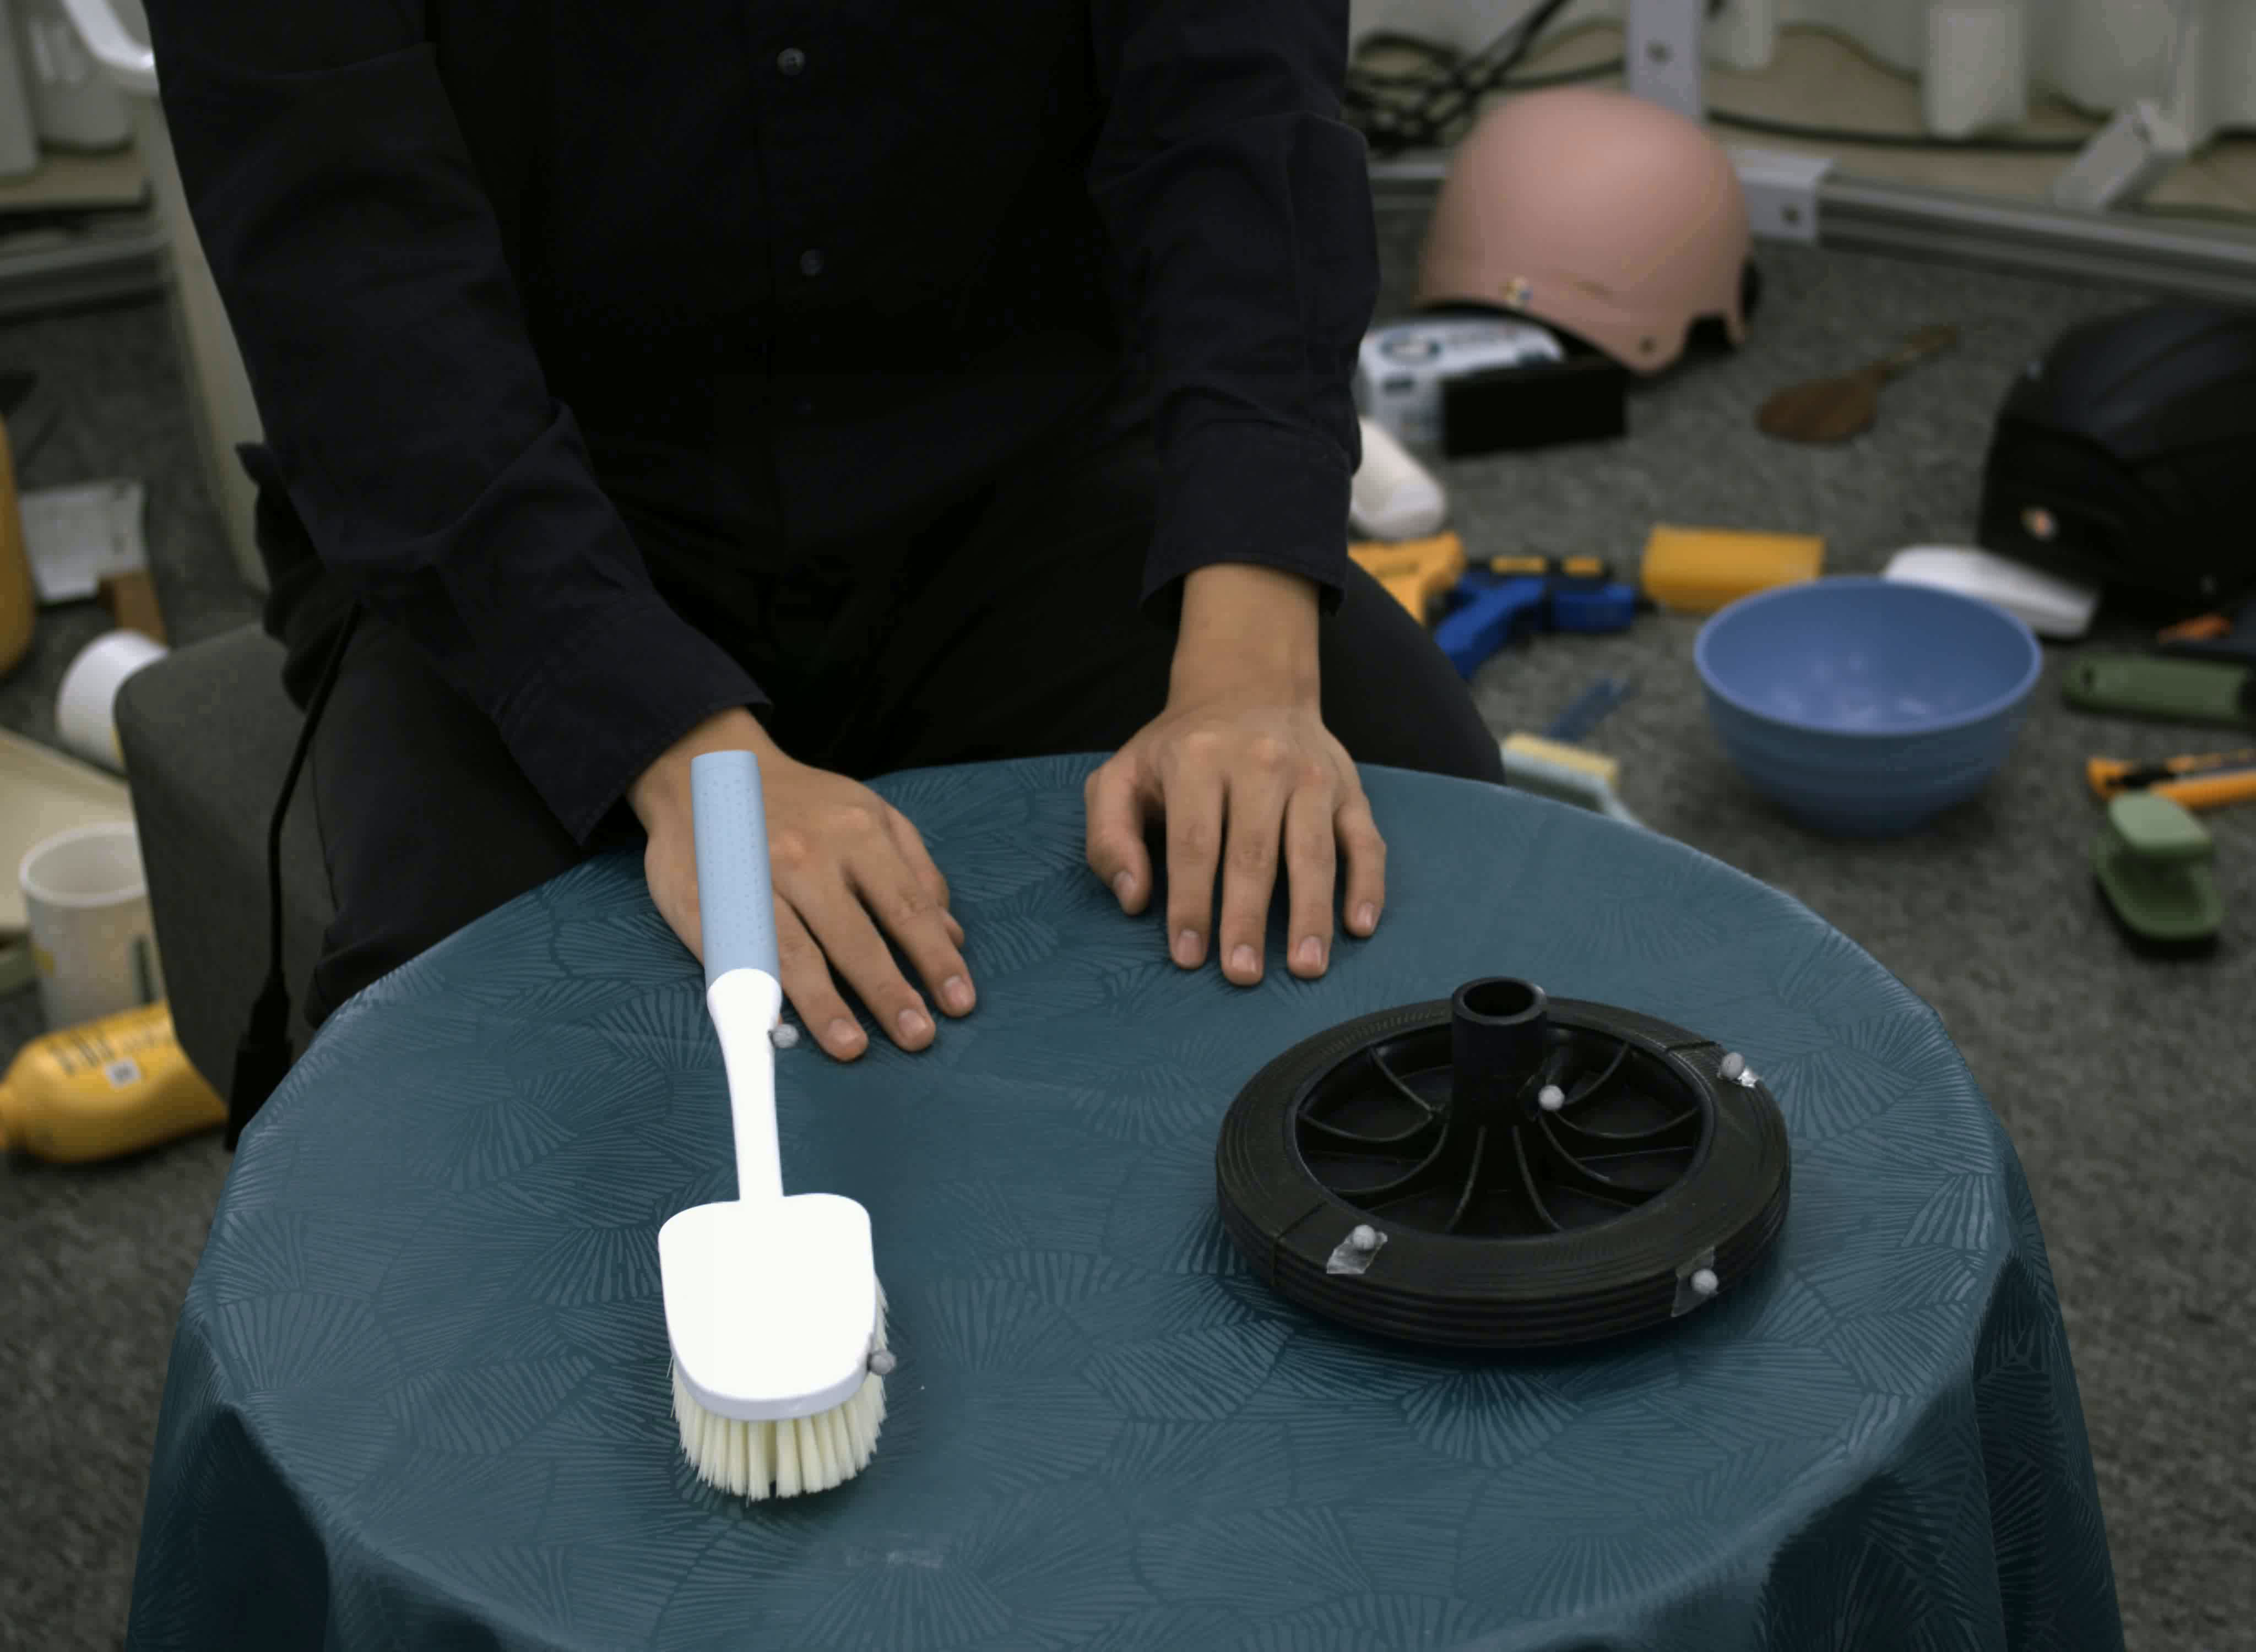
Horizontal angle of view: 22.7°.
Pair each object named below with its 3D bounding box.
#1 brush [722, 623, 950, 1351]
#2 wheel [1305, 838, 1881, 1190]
[{"bbox_3d":[-0.097,0.060,1.845,0.083,0.083,0.331,26,31,-25],"label":"brush"},{"bbox_3d":[0.151,0.045,1.848,0.188,0.078,0.190,6,29,21],"label":"wheel"}]
